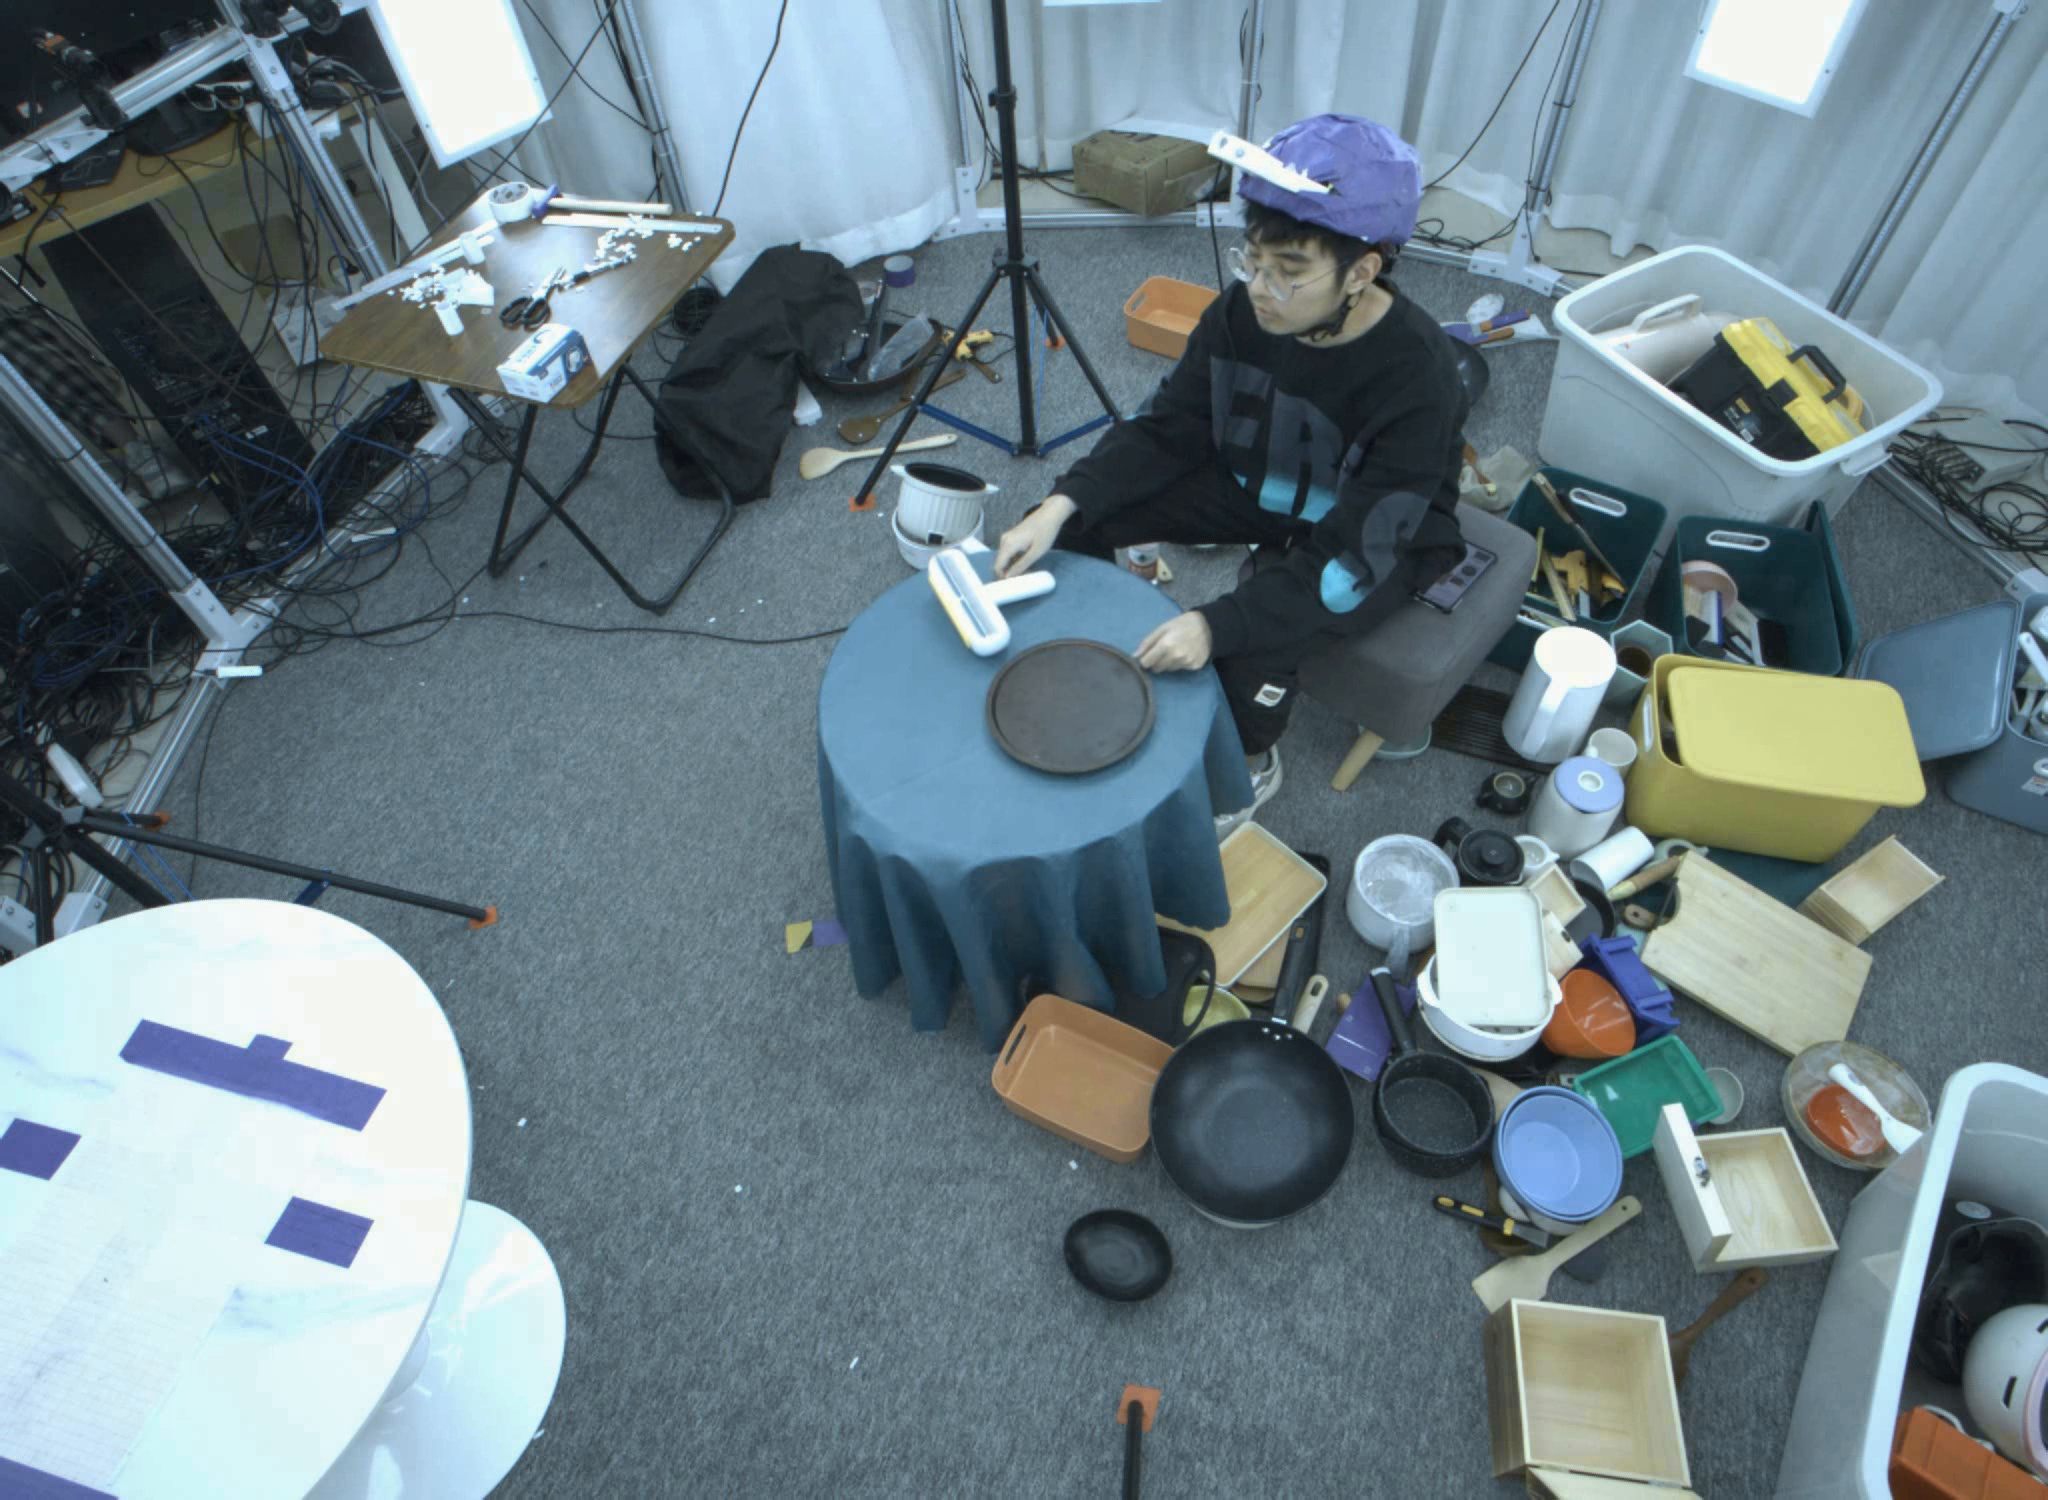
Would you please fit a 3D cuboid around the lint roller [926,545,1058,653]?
[{"bbox_3d":[-0.037,-0.250,1.921,0.194,0.075,0.190,-21,62,-14],"label":"lint roller"}]

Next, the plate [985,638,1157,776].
[{"bbox_3d":[0.069,-0.065,1.813,0.255,0.029,0.252,0,54,1],"label":"plate"}]
